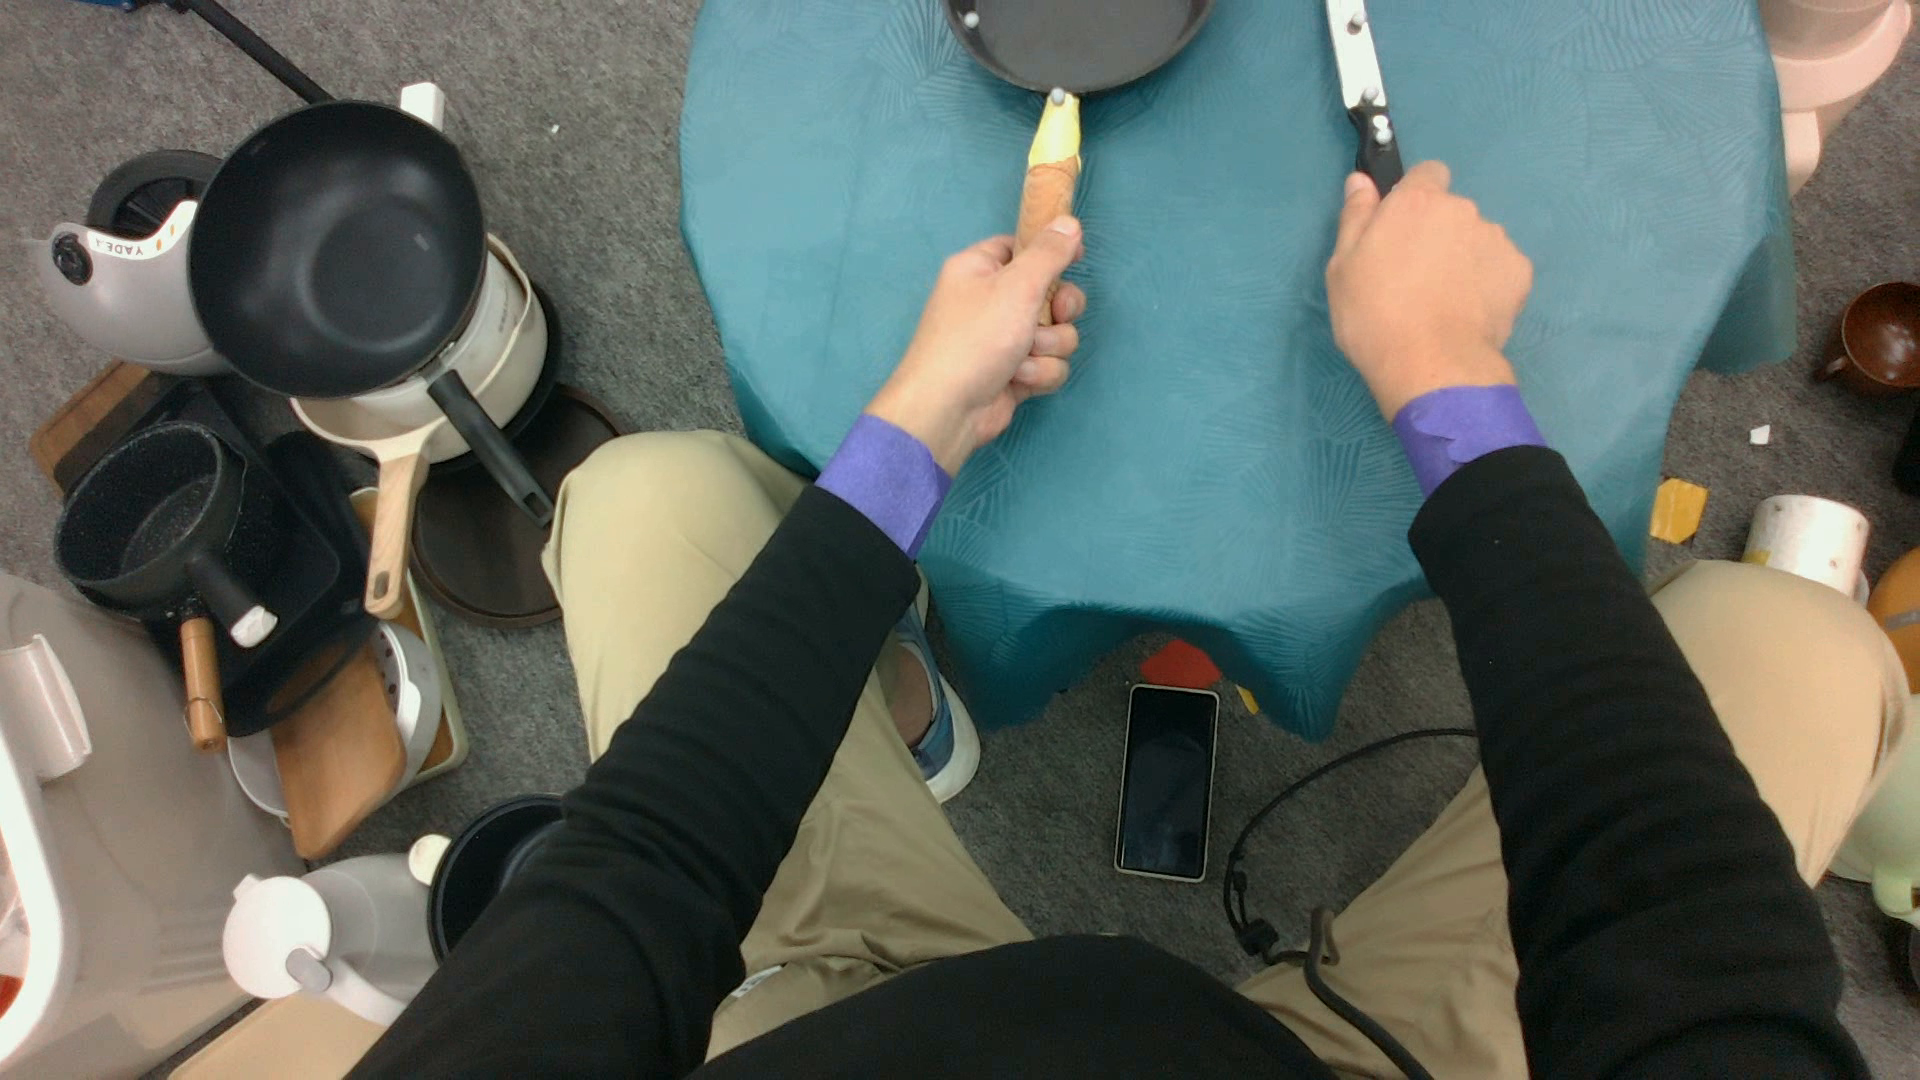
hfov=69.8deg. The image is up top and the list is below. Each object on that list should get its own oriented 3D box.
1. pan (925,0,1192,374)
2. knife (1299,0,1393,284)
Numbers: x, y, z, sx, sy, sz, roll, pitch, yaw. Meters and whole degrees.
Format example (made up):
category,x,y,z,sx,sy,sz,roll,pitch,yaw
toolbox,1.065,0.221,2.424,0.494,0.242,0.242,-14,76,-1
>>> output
category,x,y,z,sx,sy,sz,roll,pitch,yaw
pan,0.043,-0.241,0.752,0.169,0.049,0.325,8,78,10
knife,0.204,-0.243,0.743,0.024,0.016,0.239,-3,69,-4
